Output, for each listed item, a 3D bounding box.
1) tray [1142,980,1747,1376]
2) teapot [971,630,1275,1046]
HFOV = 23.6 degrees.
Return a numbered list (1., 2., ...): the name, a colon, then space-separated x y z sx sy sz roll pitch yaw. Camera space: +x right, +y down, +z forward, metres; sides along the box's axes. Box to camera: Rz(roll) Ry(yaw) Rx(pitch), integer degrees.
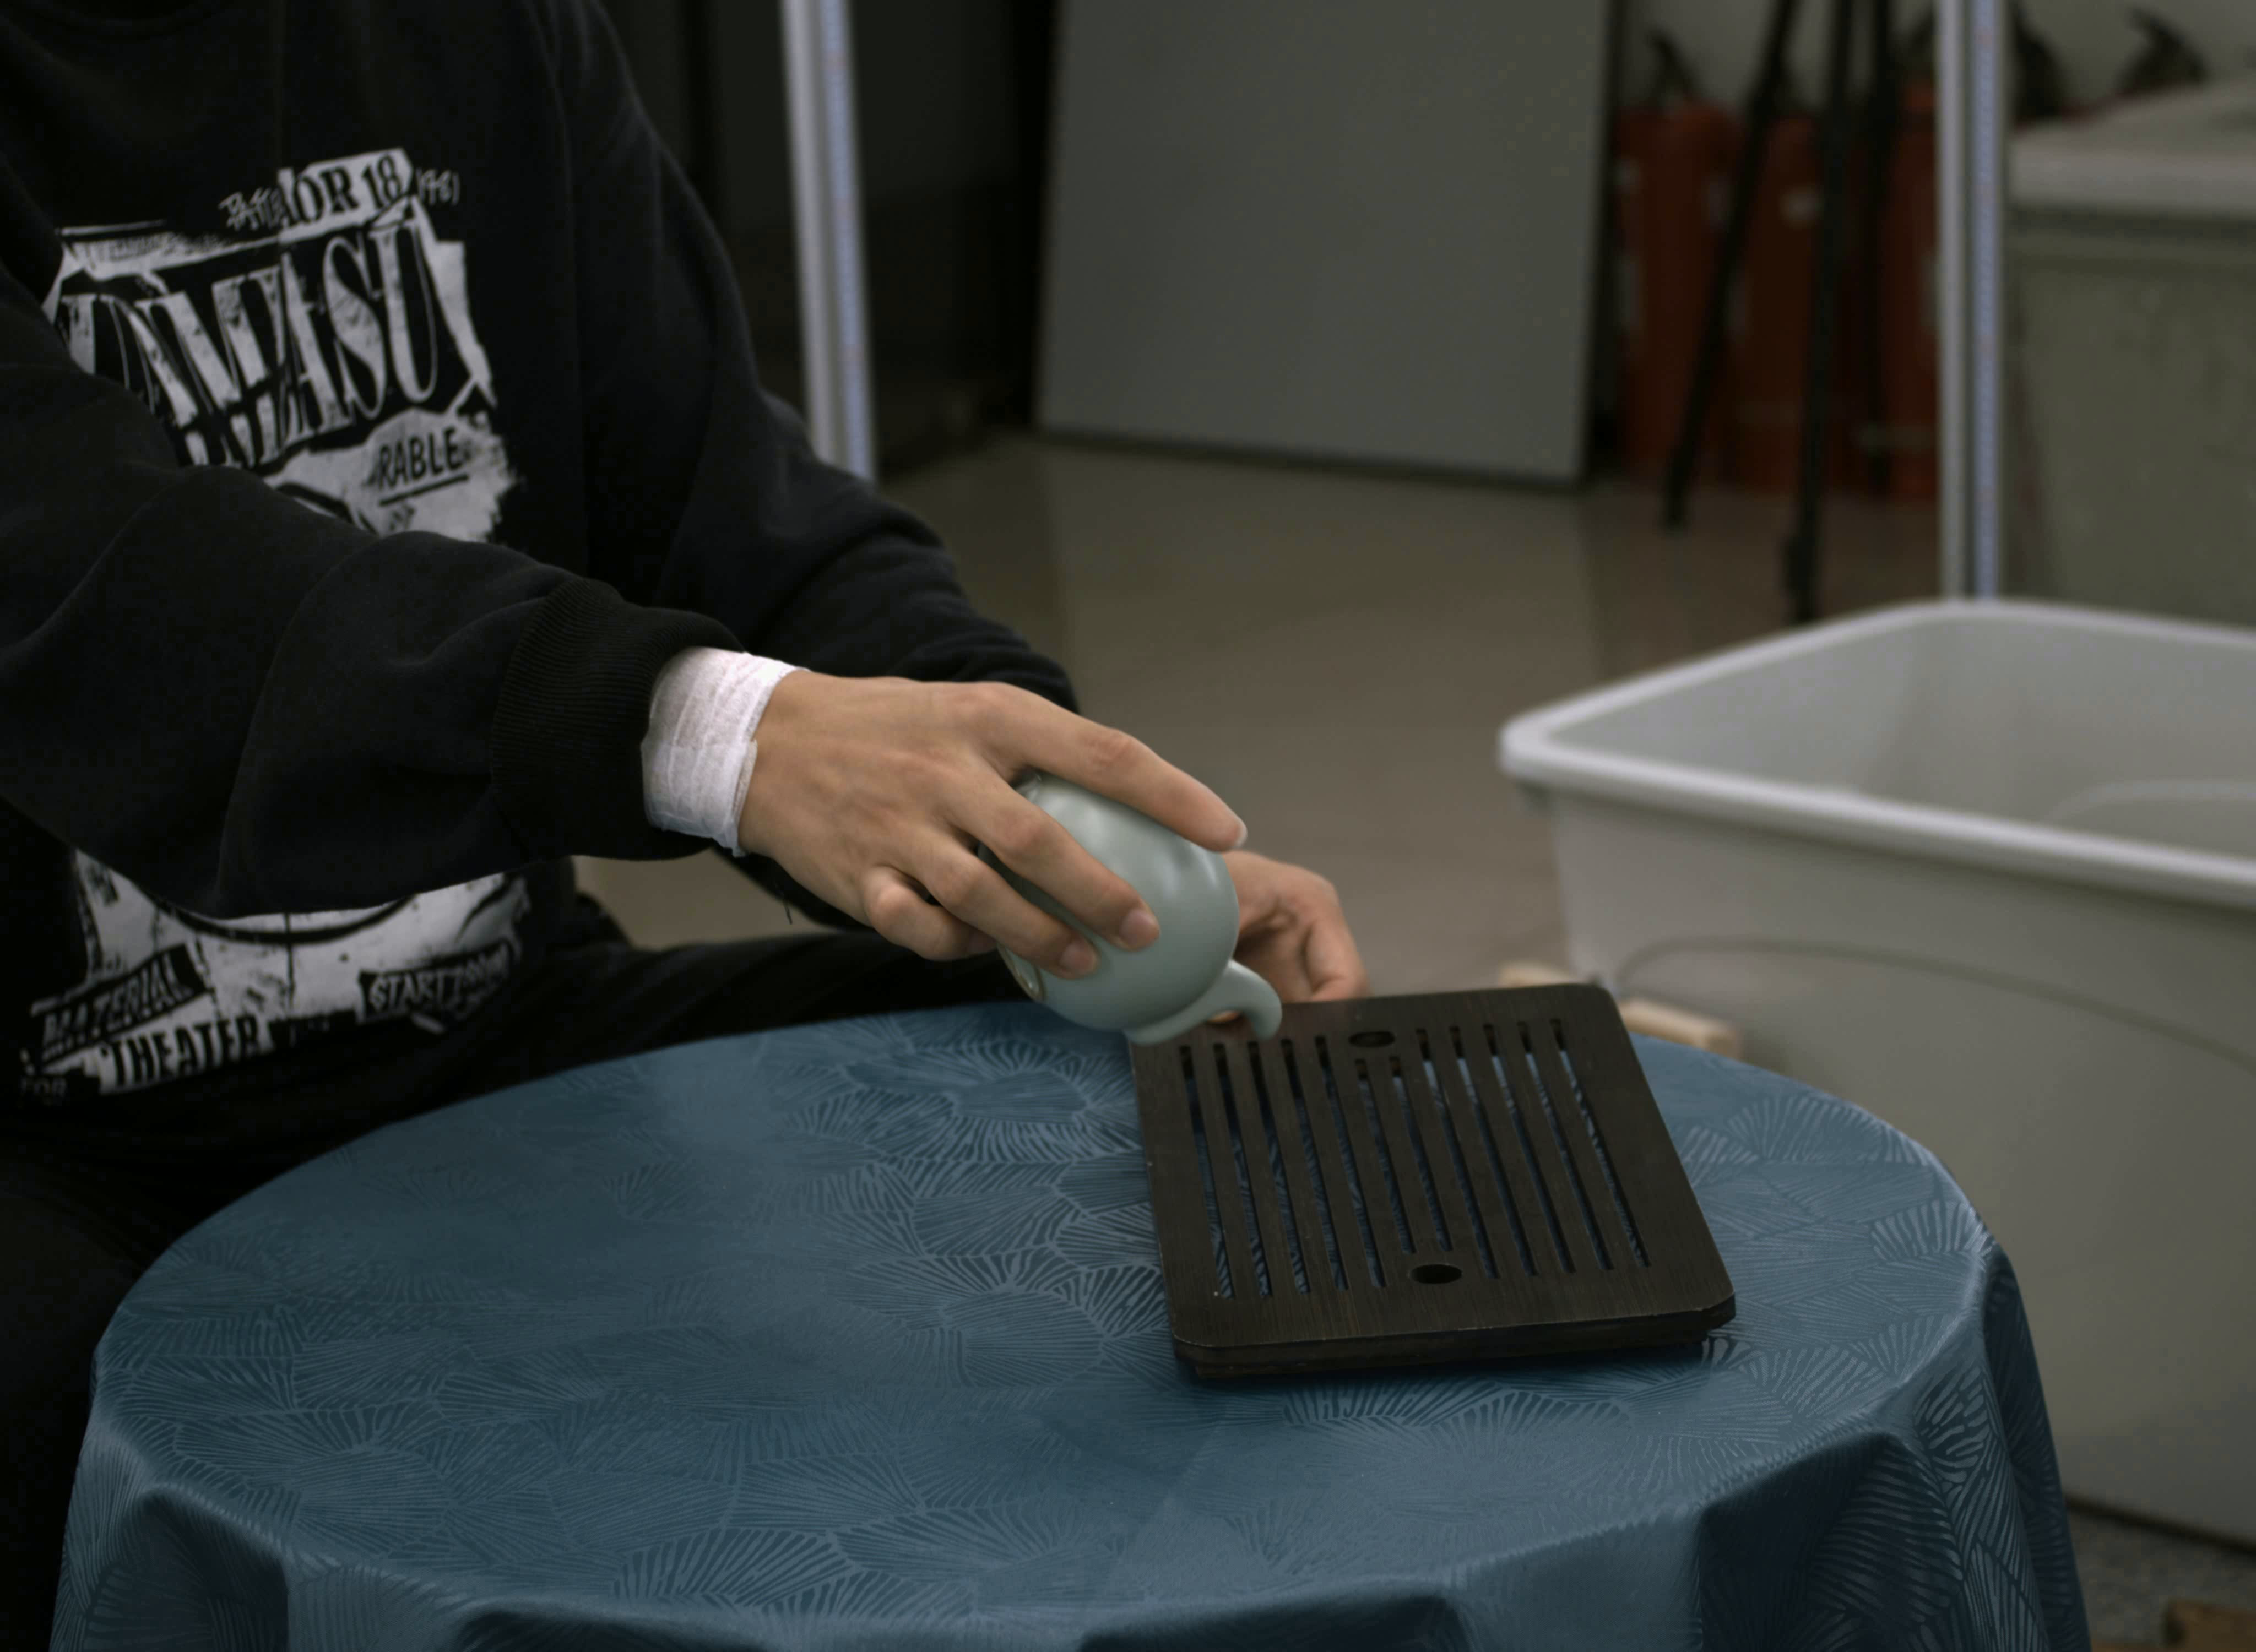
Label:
1. tray: 0.094 0.110 1.724 0.168 0.019 0.307 -5 16 -1
2. teapot: -0.006 0.017 1.639 0.073 0.144 0.089 -25 21 -14
